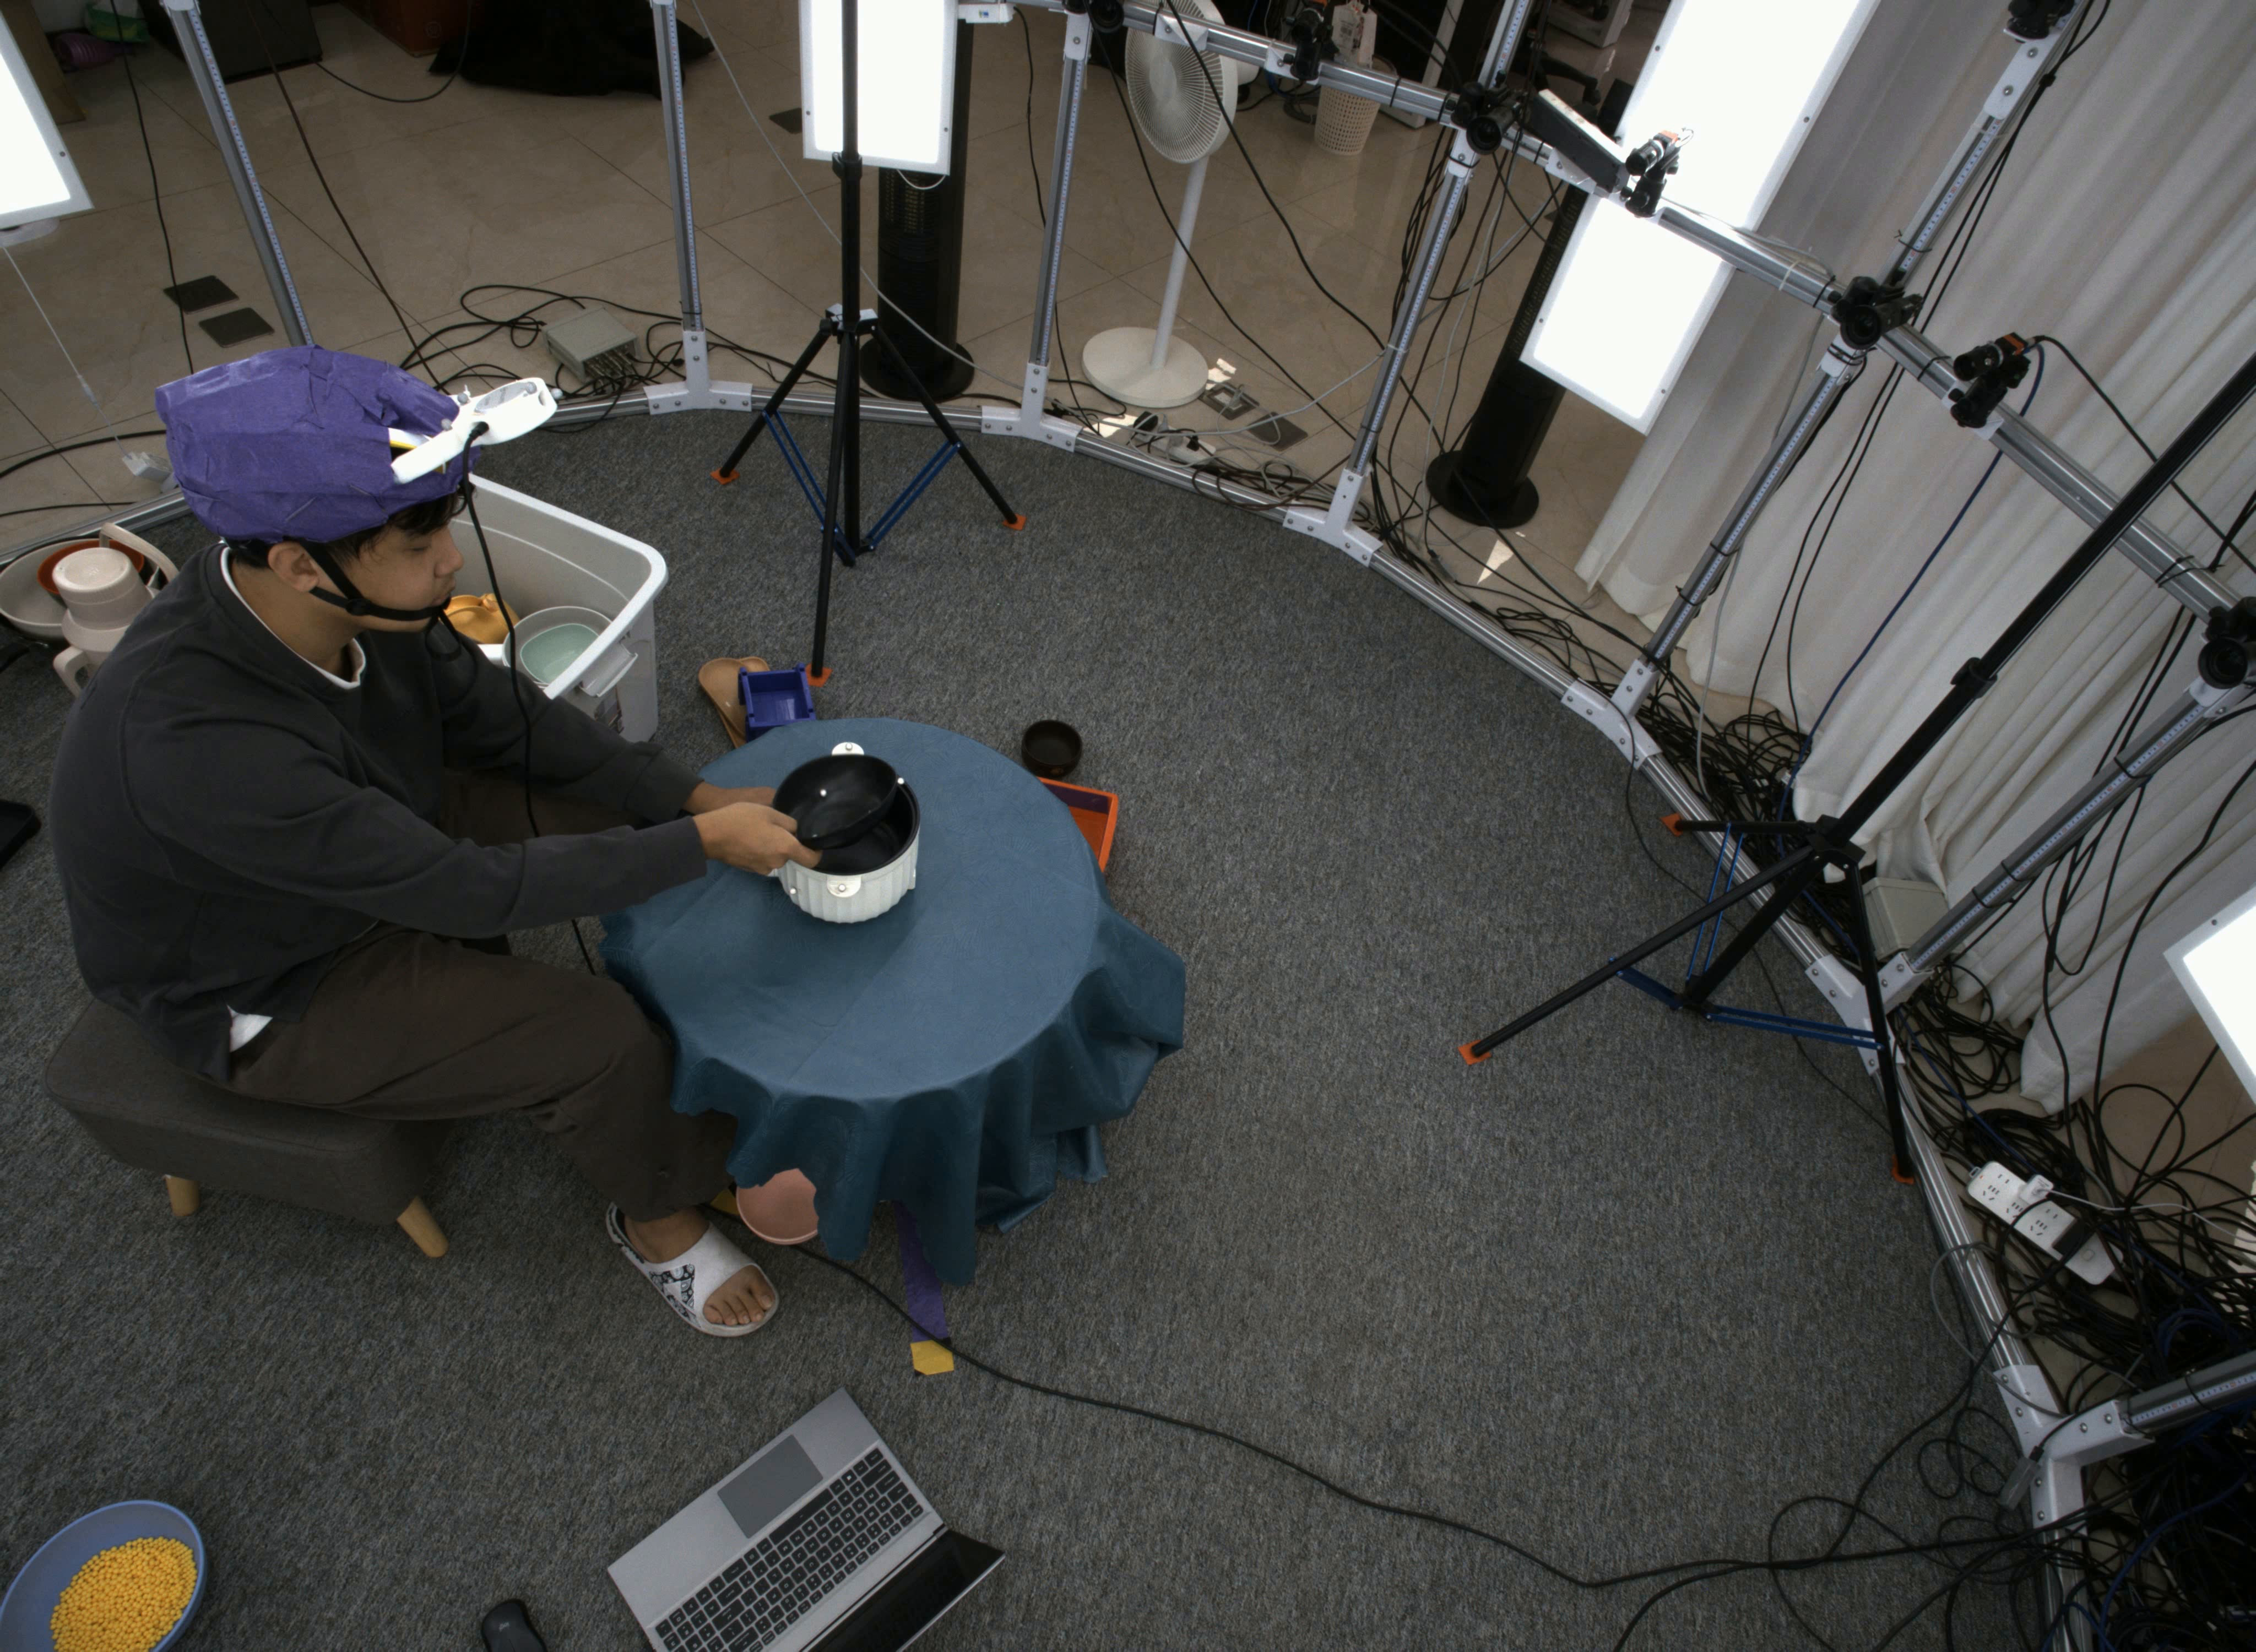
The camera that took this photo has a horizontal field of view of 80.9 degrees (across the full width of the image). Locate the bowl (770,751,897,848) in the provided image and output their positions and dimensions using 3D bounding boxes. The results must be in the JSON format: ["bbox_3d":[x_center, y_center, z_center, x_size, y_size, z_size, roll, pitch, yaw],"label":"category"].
[{"bbox_3d":[-0.346,-0.022,1.547,0.133,0.069,0.169,14,39,21],"label":"bowl"}]

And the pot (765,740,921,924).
[{"bbox_3d":[-0.358,0.026,1.628,0.191,0.145,0.235,2,52,-15],"label":"pot"}]
